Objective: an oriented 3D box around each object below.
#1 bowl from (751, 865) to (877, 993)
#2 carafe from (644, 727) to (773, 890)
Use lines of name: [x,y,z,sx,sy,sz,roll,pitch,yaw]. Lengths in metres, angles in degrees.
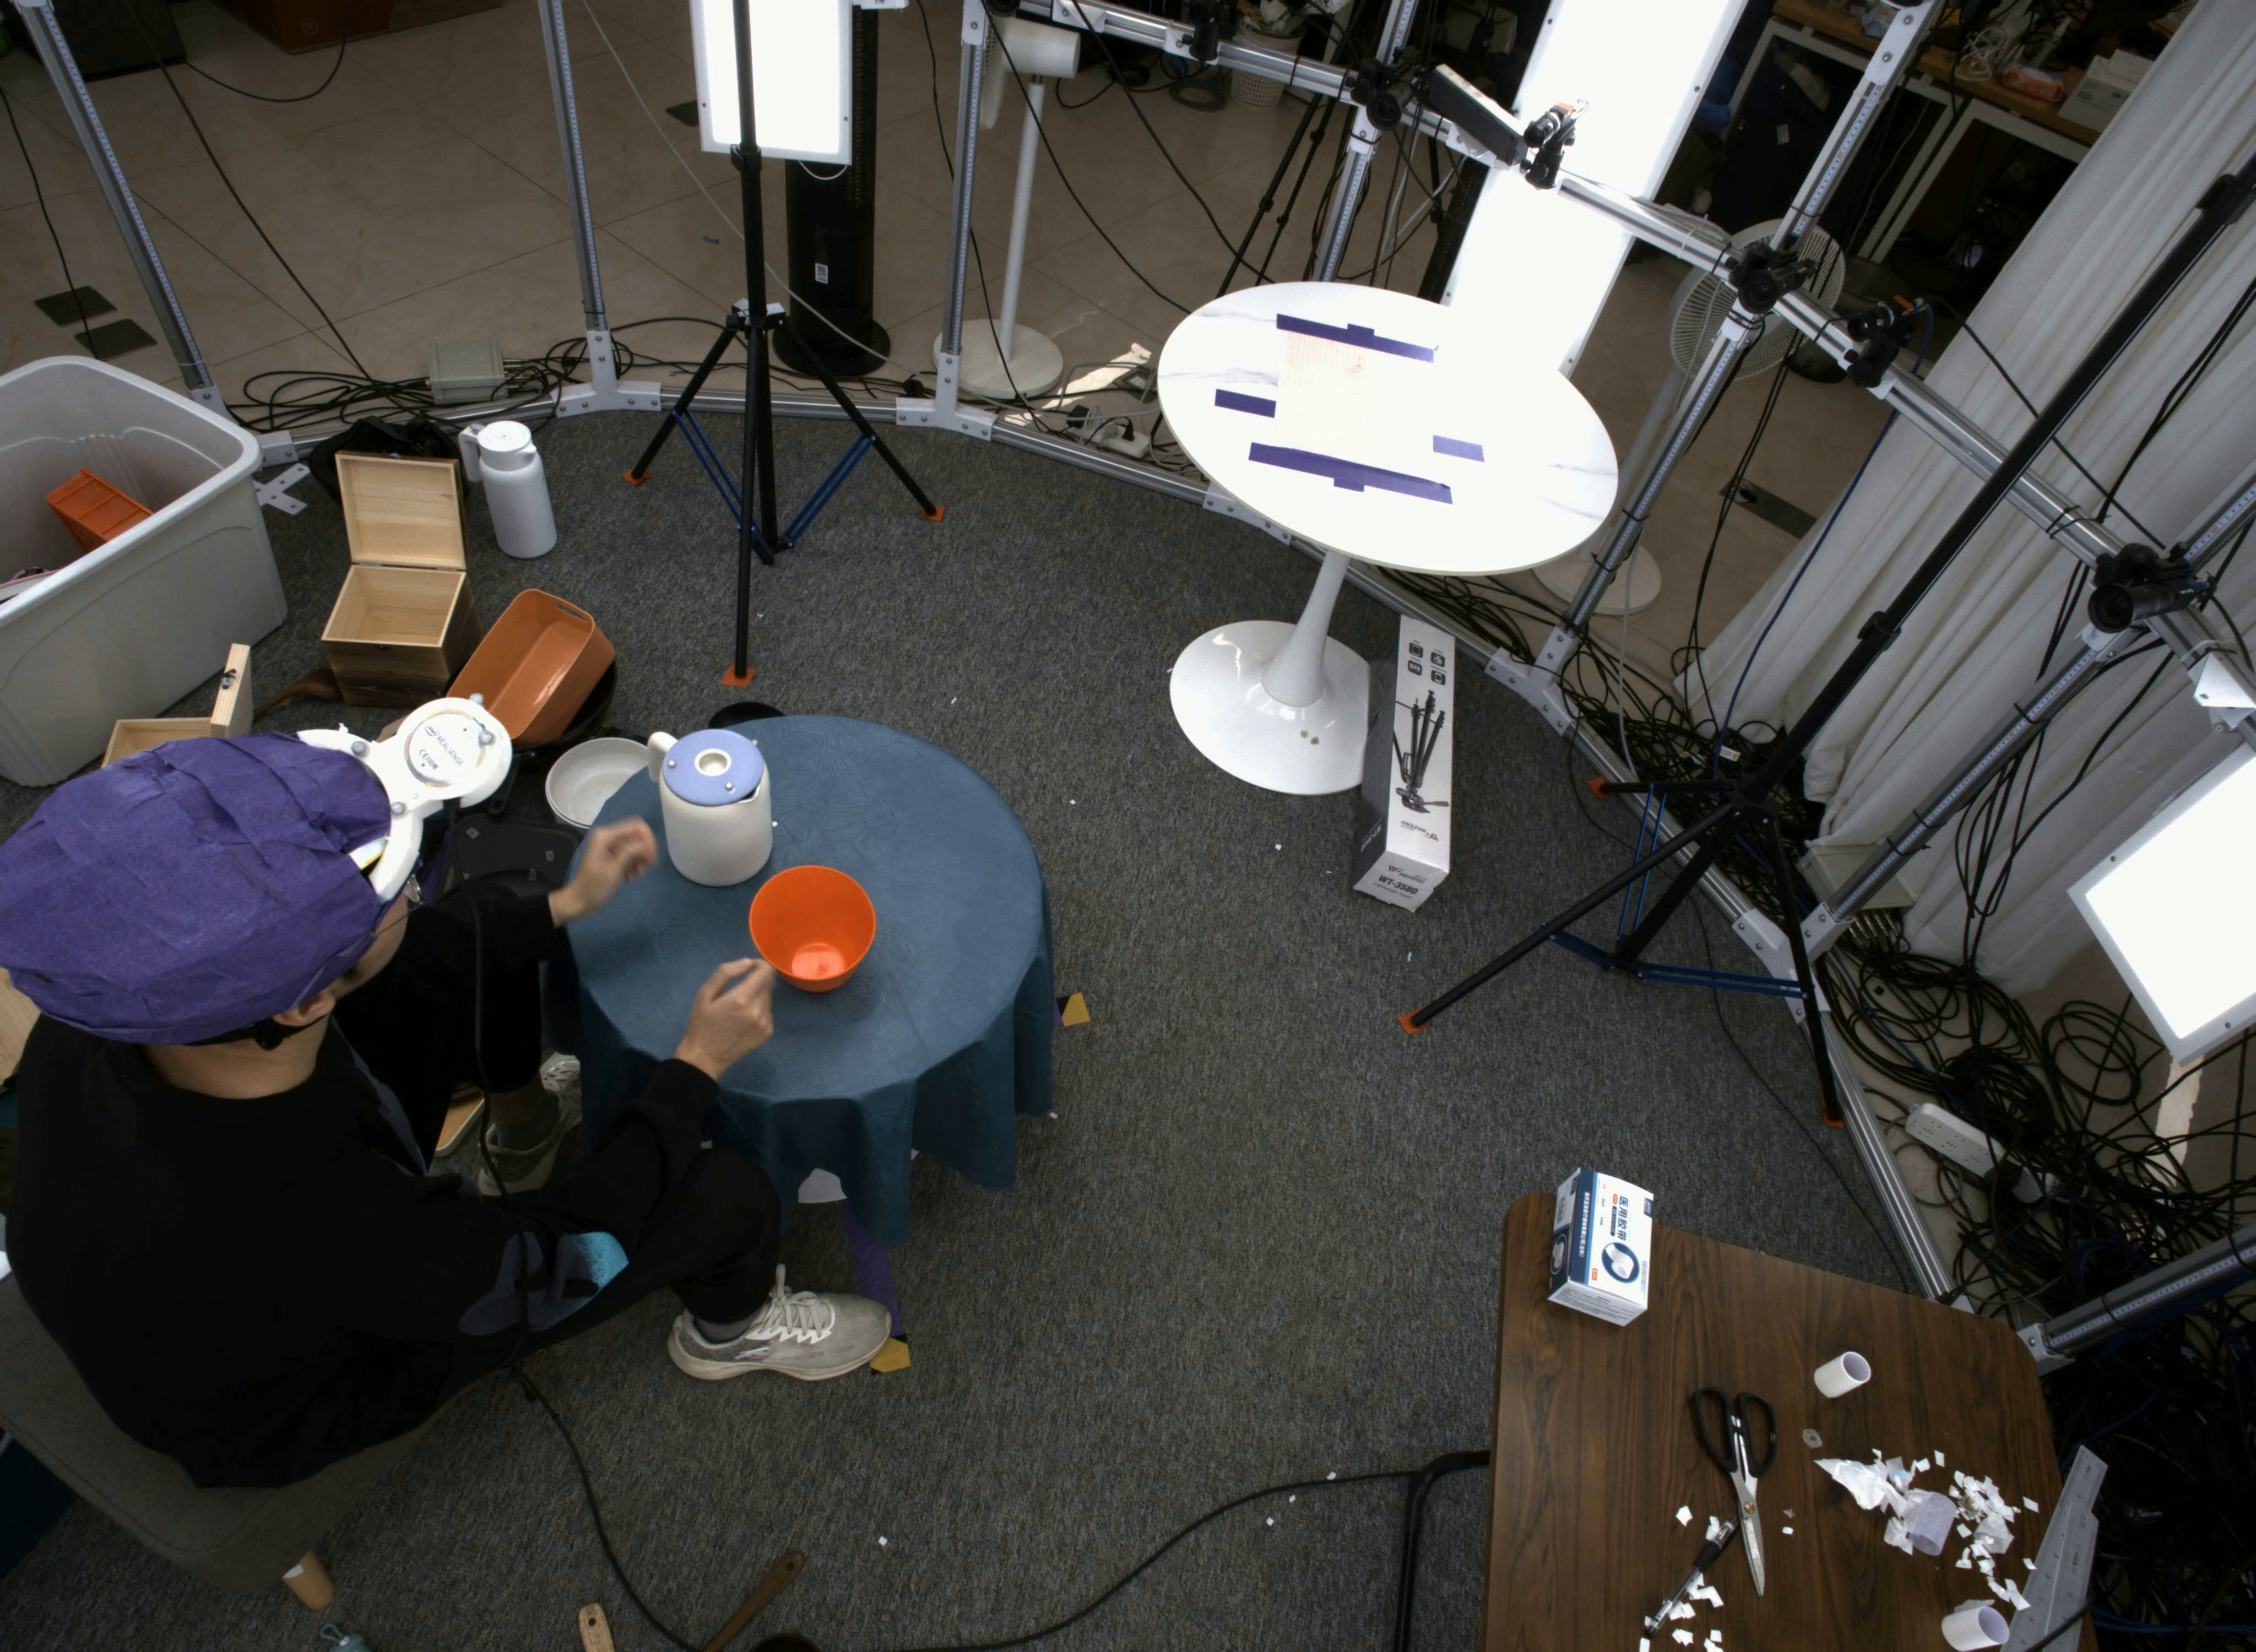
bowl: [-0.380,0.136,1.576,0.148,0.107,0.145,7,52,-8]
carafe: [-0.534,-0.035,1.617,0.187,0.187,0.132,31,51,14]
